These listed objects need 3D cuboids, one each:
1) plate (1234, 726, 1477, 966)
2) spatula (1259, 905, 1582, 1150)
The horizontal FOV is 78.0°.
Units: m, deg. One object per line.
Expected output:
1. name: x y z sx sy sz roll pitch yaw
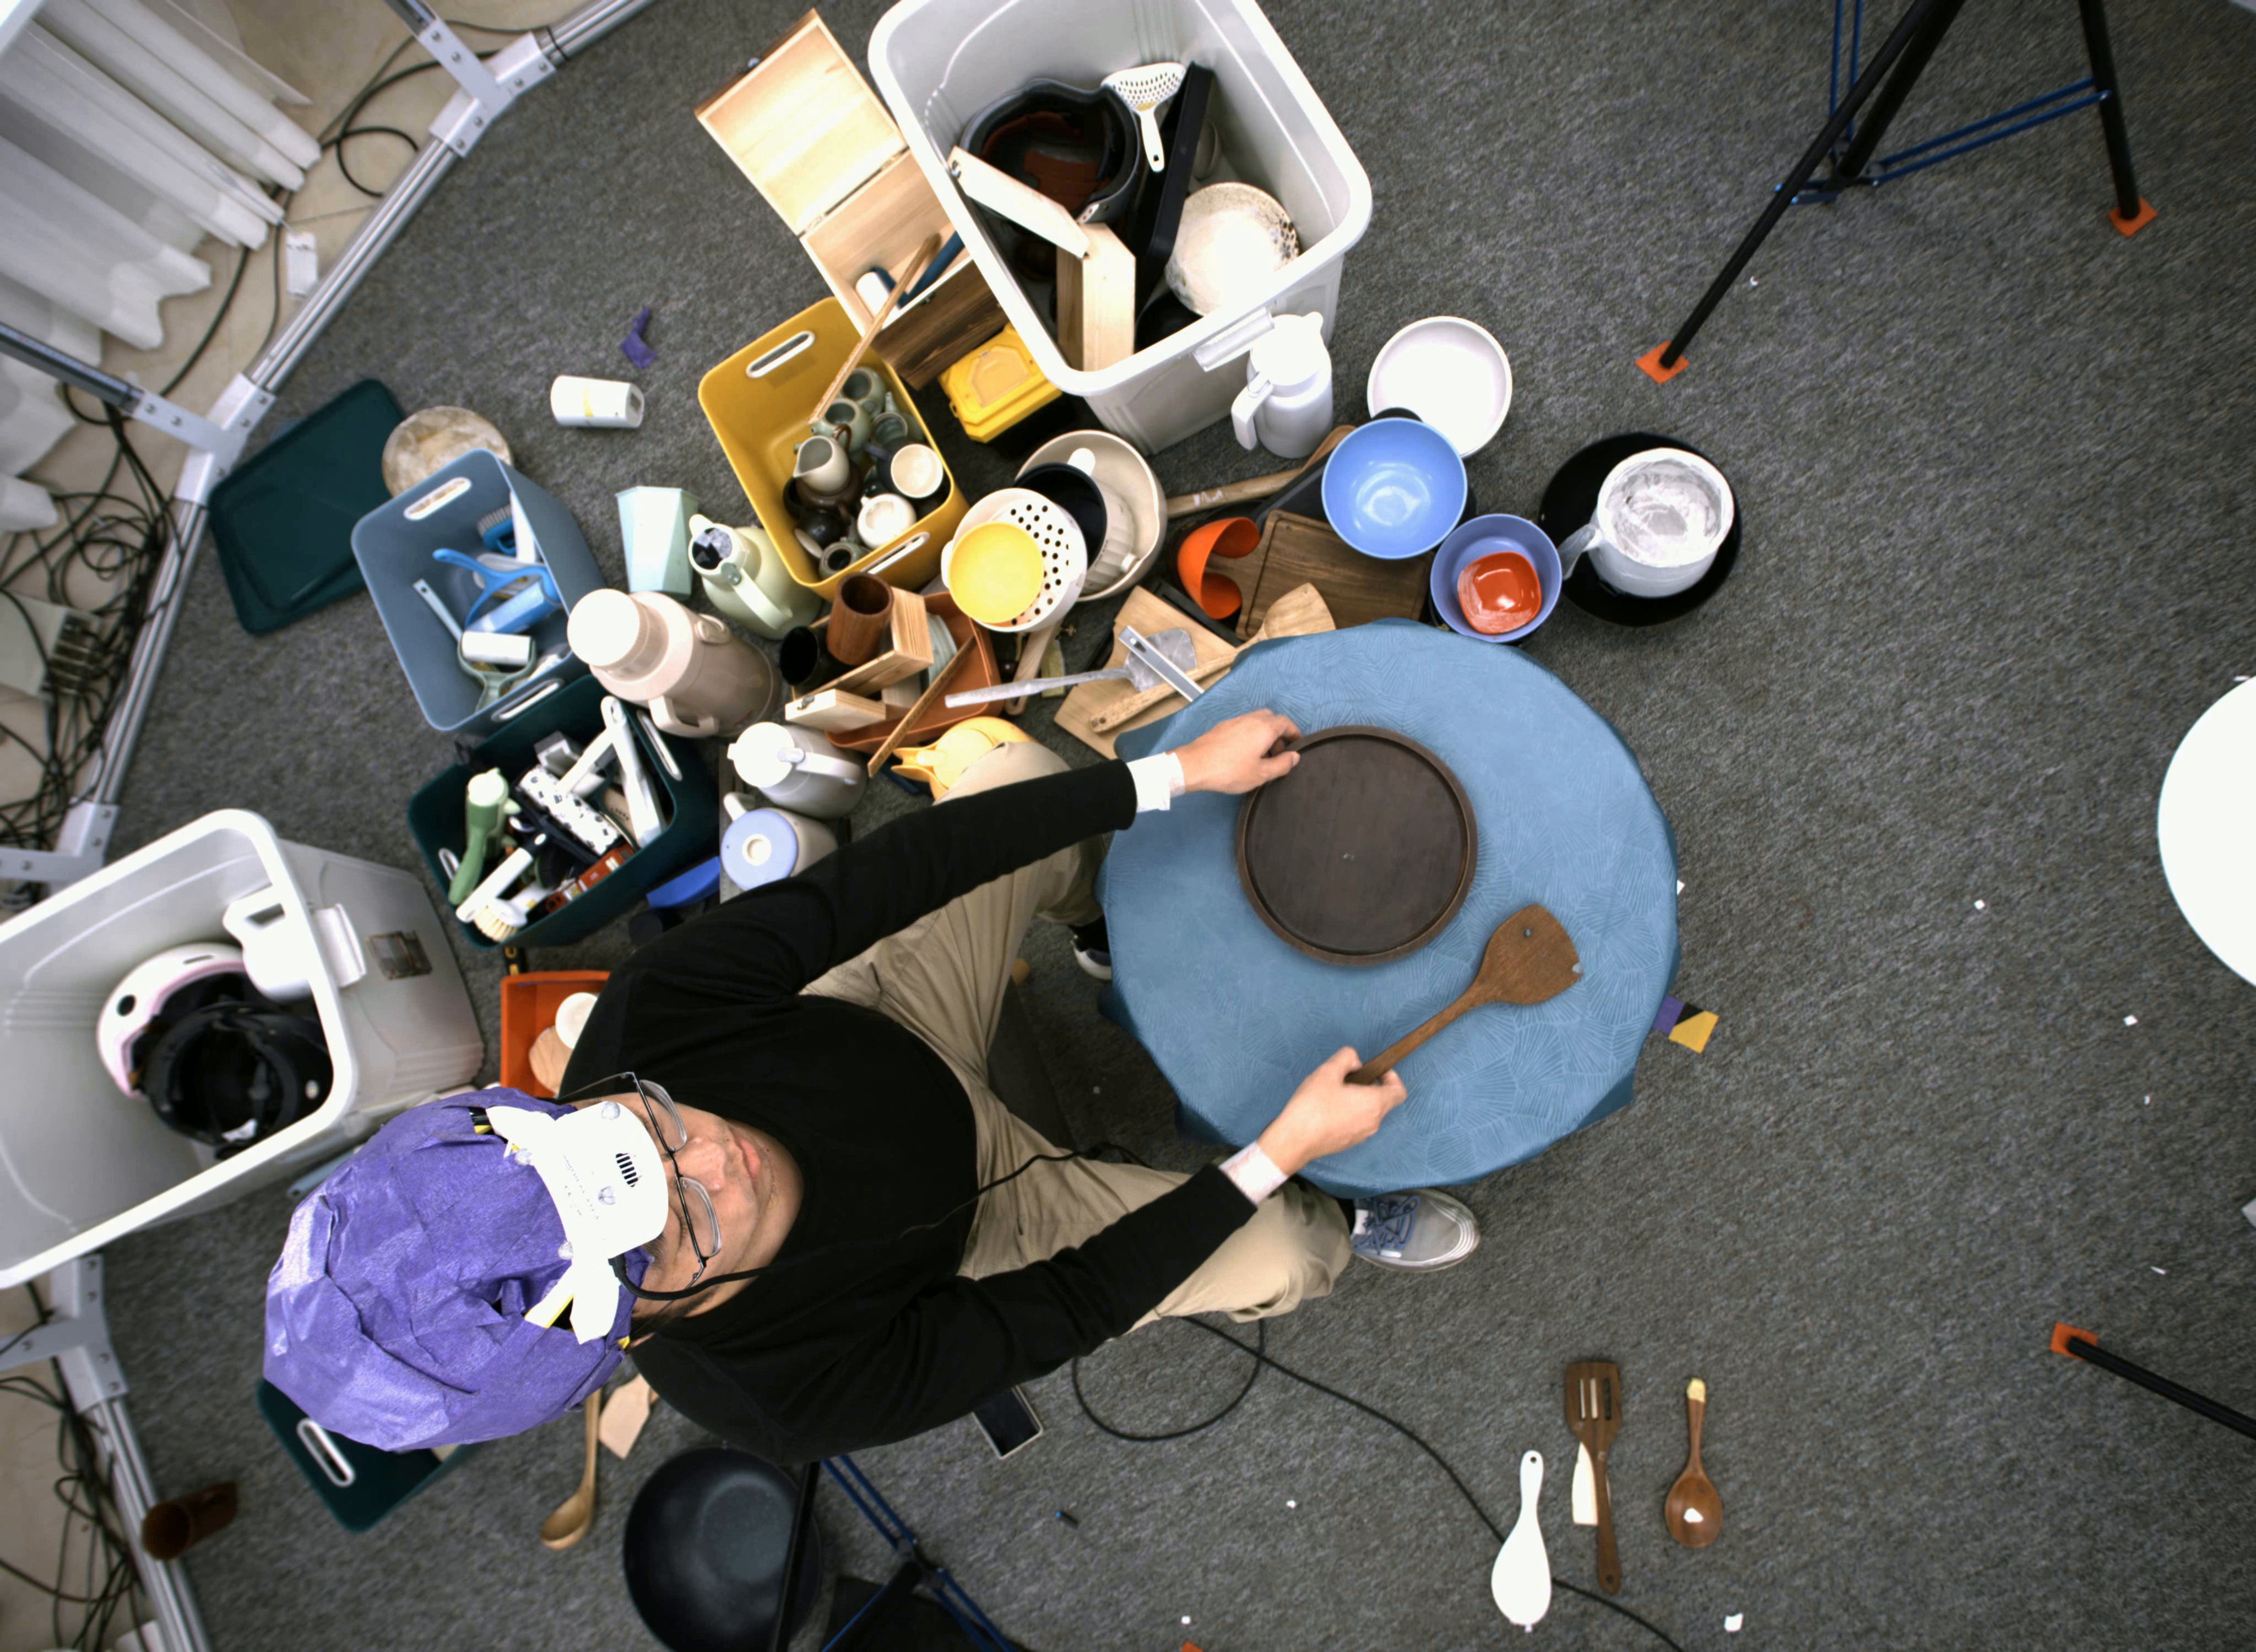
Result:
1. plate: 0.238 0.020 1.450 0.255 0.029 0.254 0 90 6
2. spatula: 0.294 0.212 1.400 0.384 0.016 0.096 -33 90 -7
